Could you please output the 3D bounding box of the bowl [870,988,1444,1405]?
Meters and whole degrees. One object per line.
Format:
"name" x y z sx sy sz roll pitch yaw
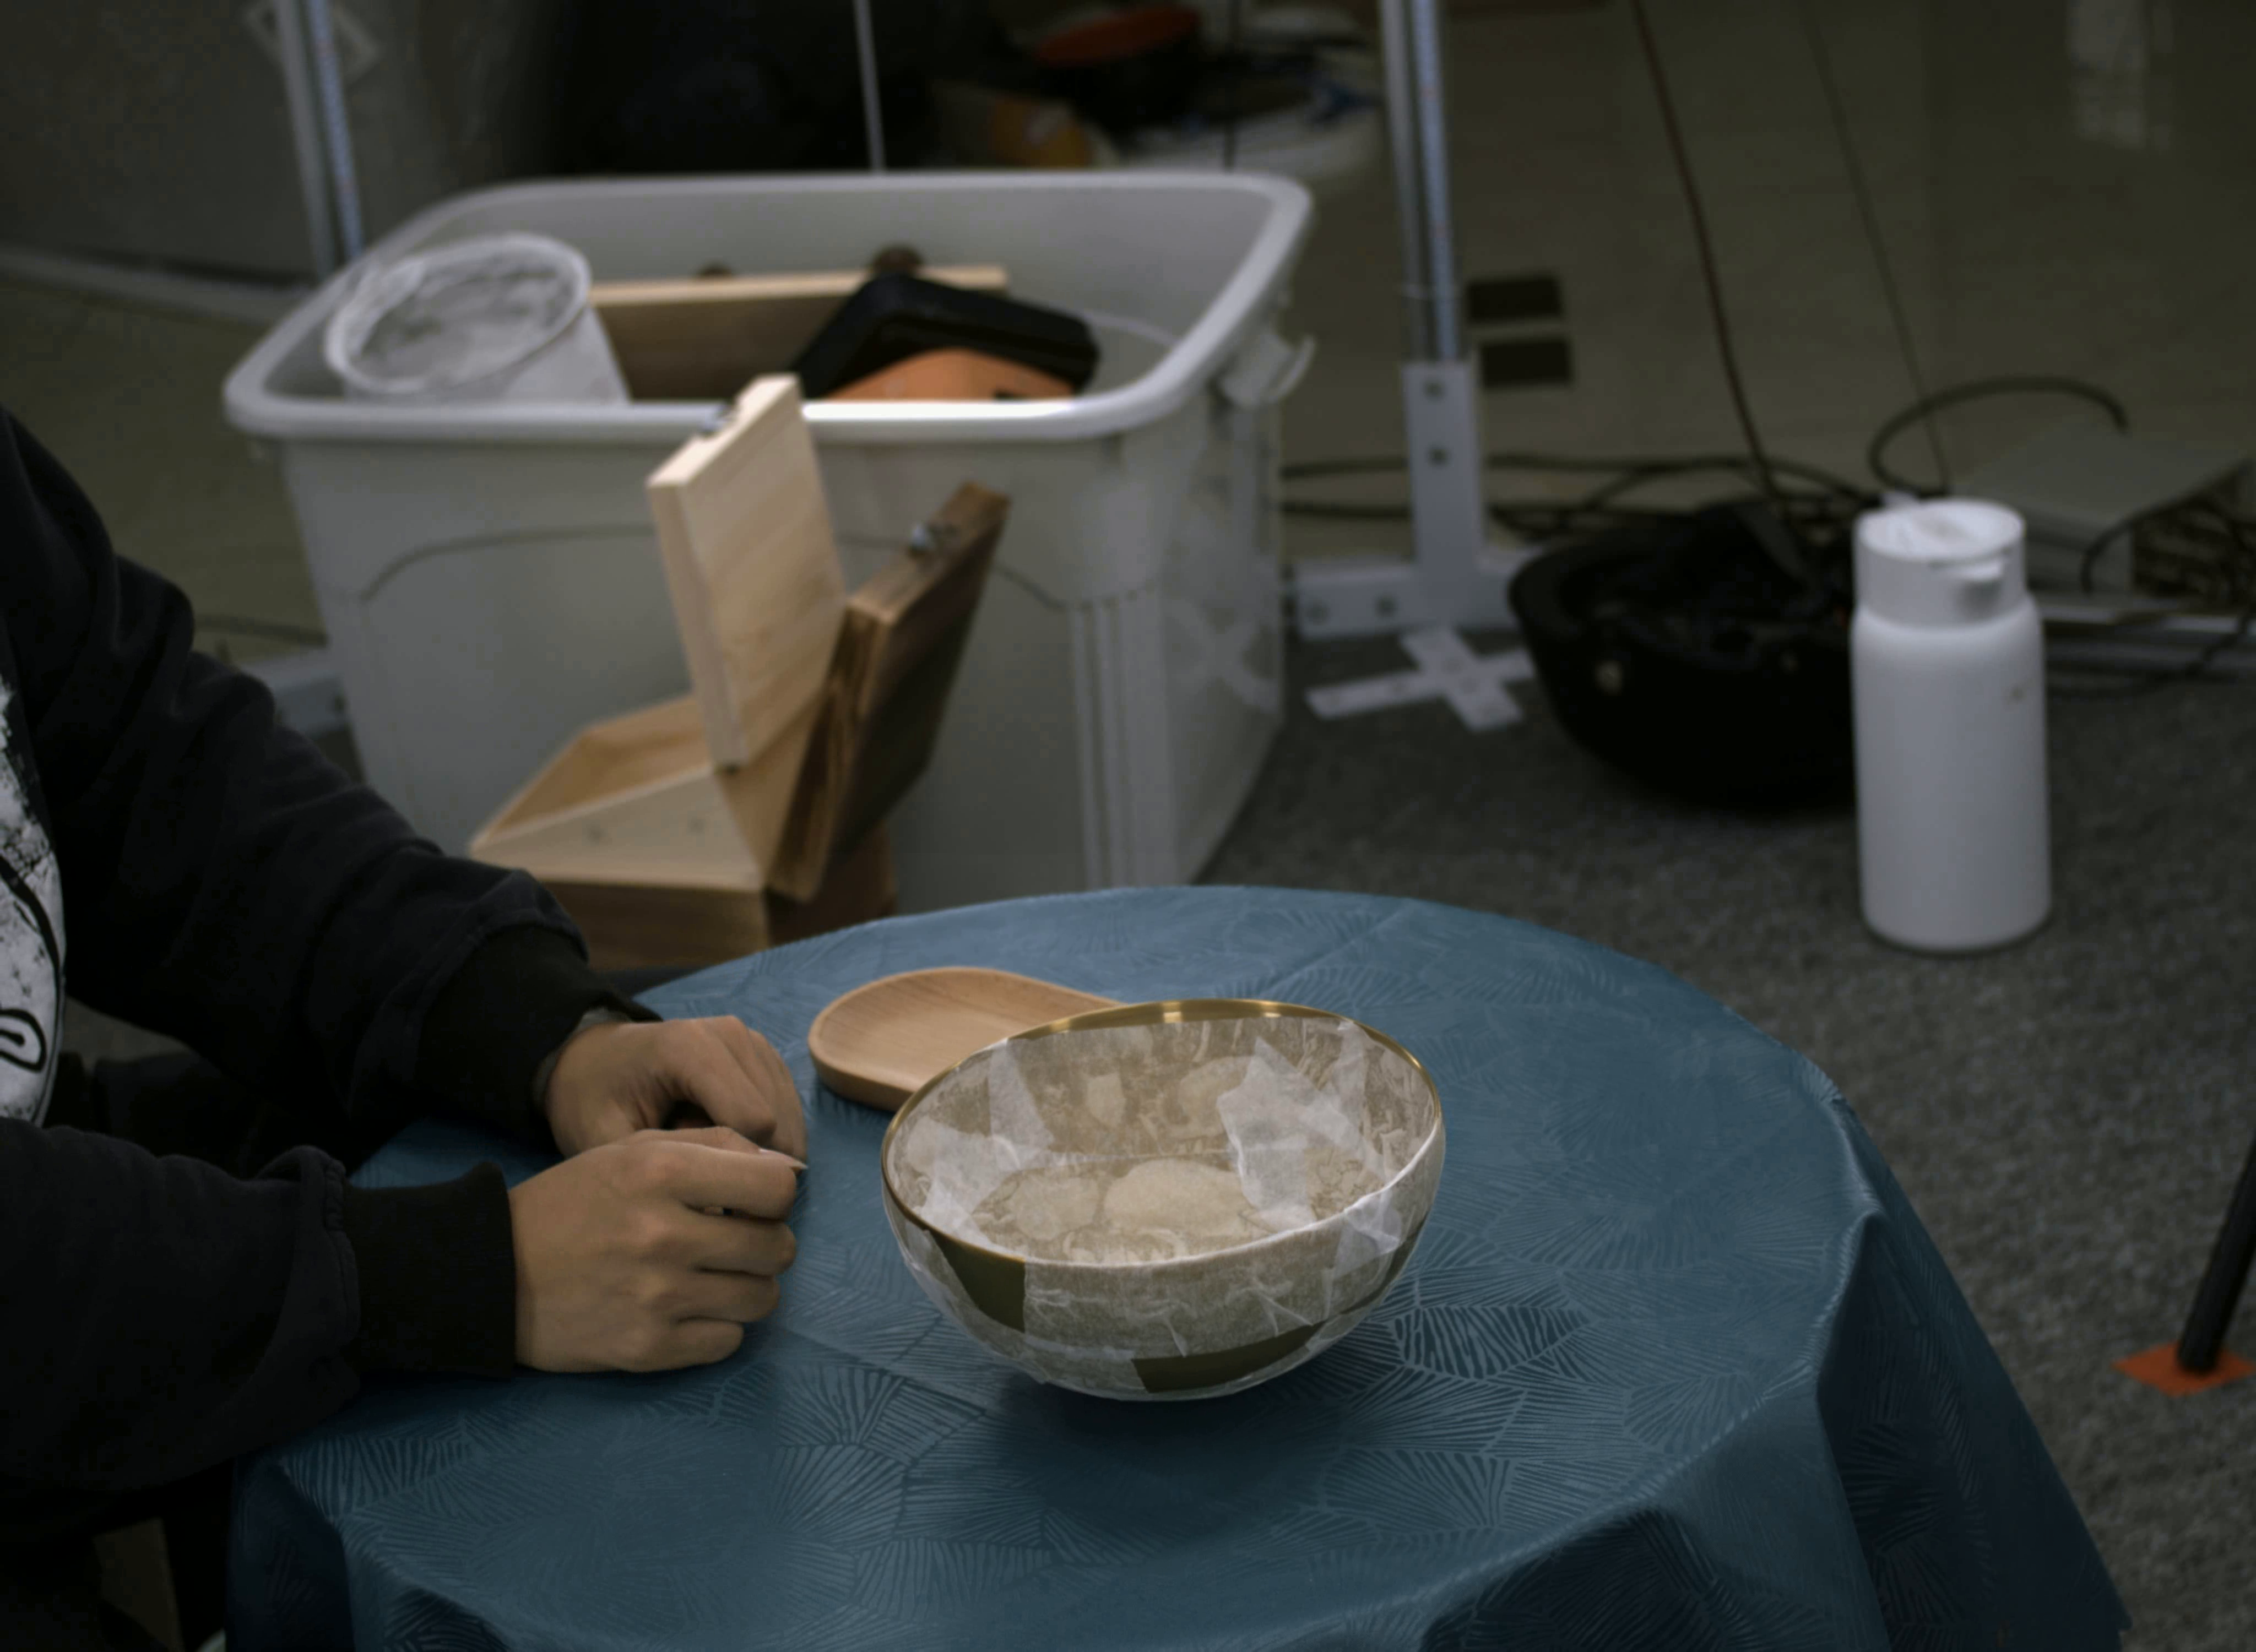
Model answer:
"bowl" 0.016 0.144 2.026 0.214 0.096 0.211 -6 26 3

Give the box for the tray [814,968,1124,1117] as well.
"tray" -0.023 0.098 2.228 0.229 0.020 0.100 15 35 35
